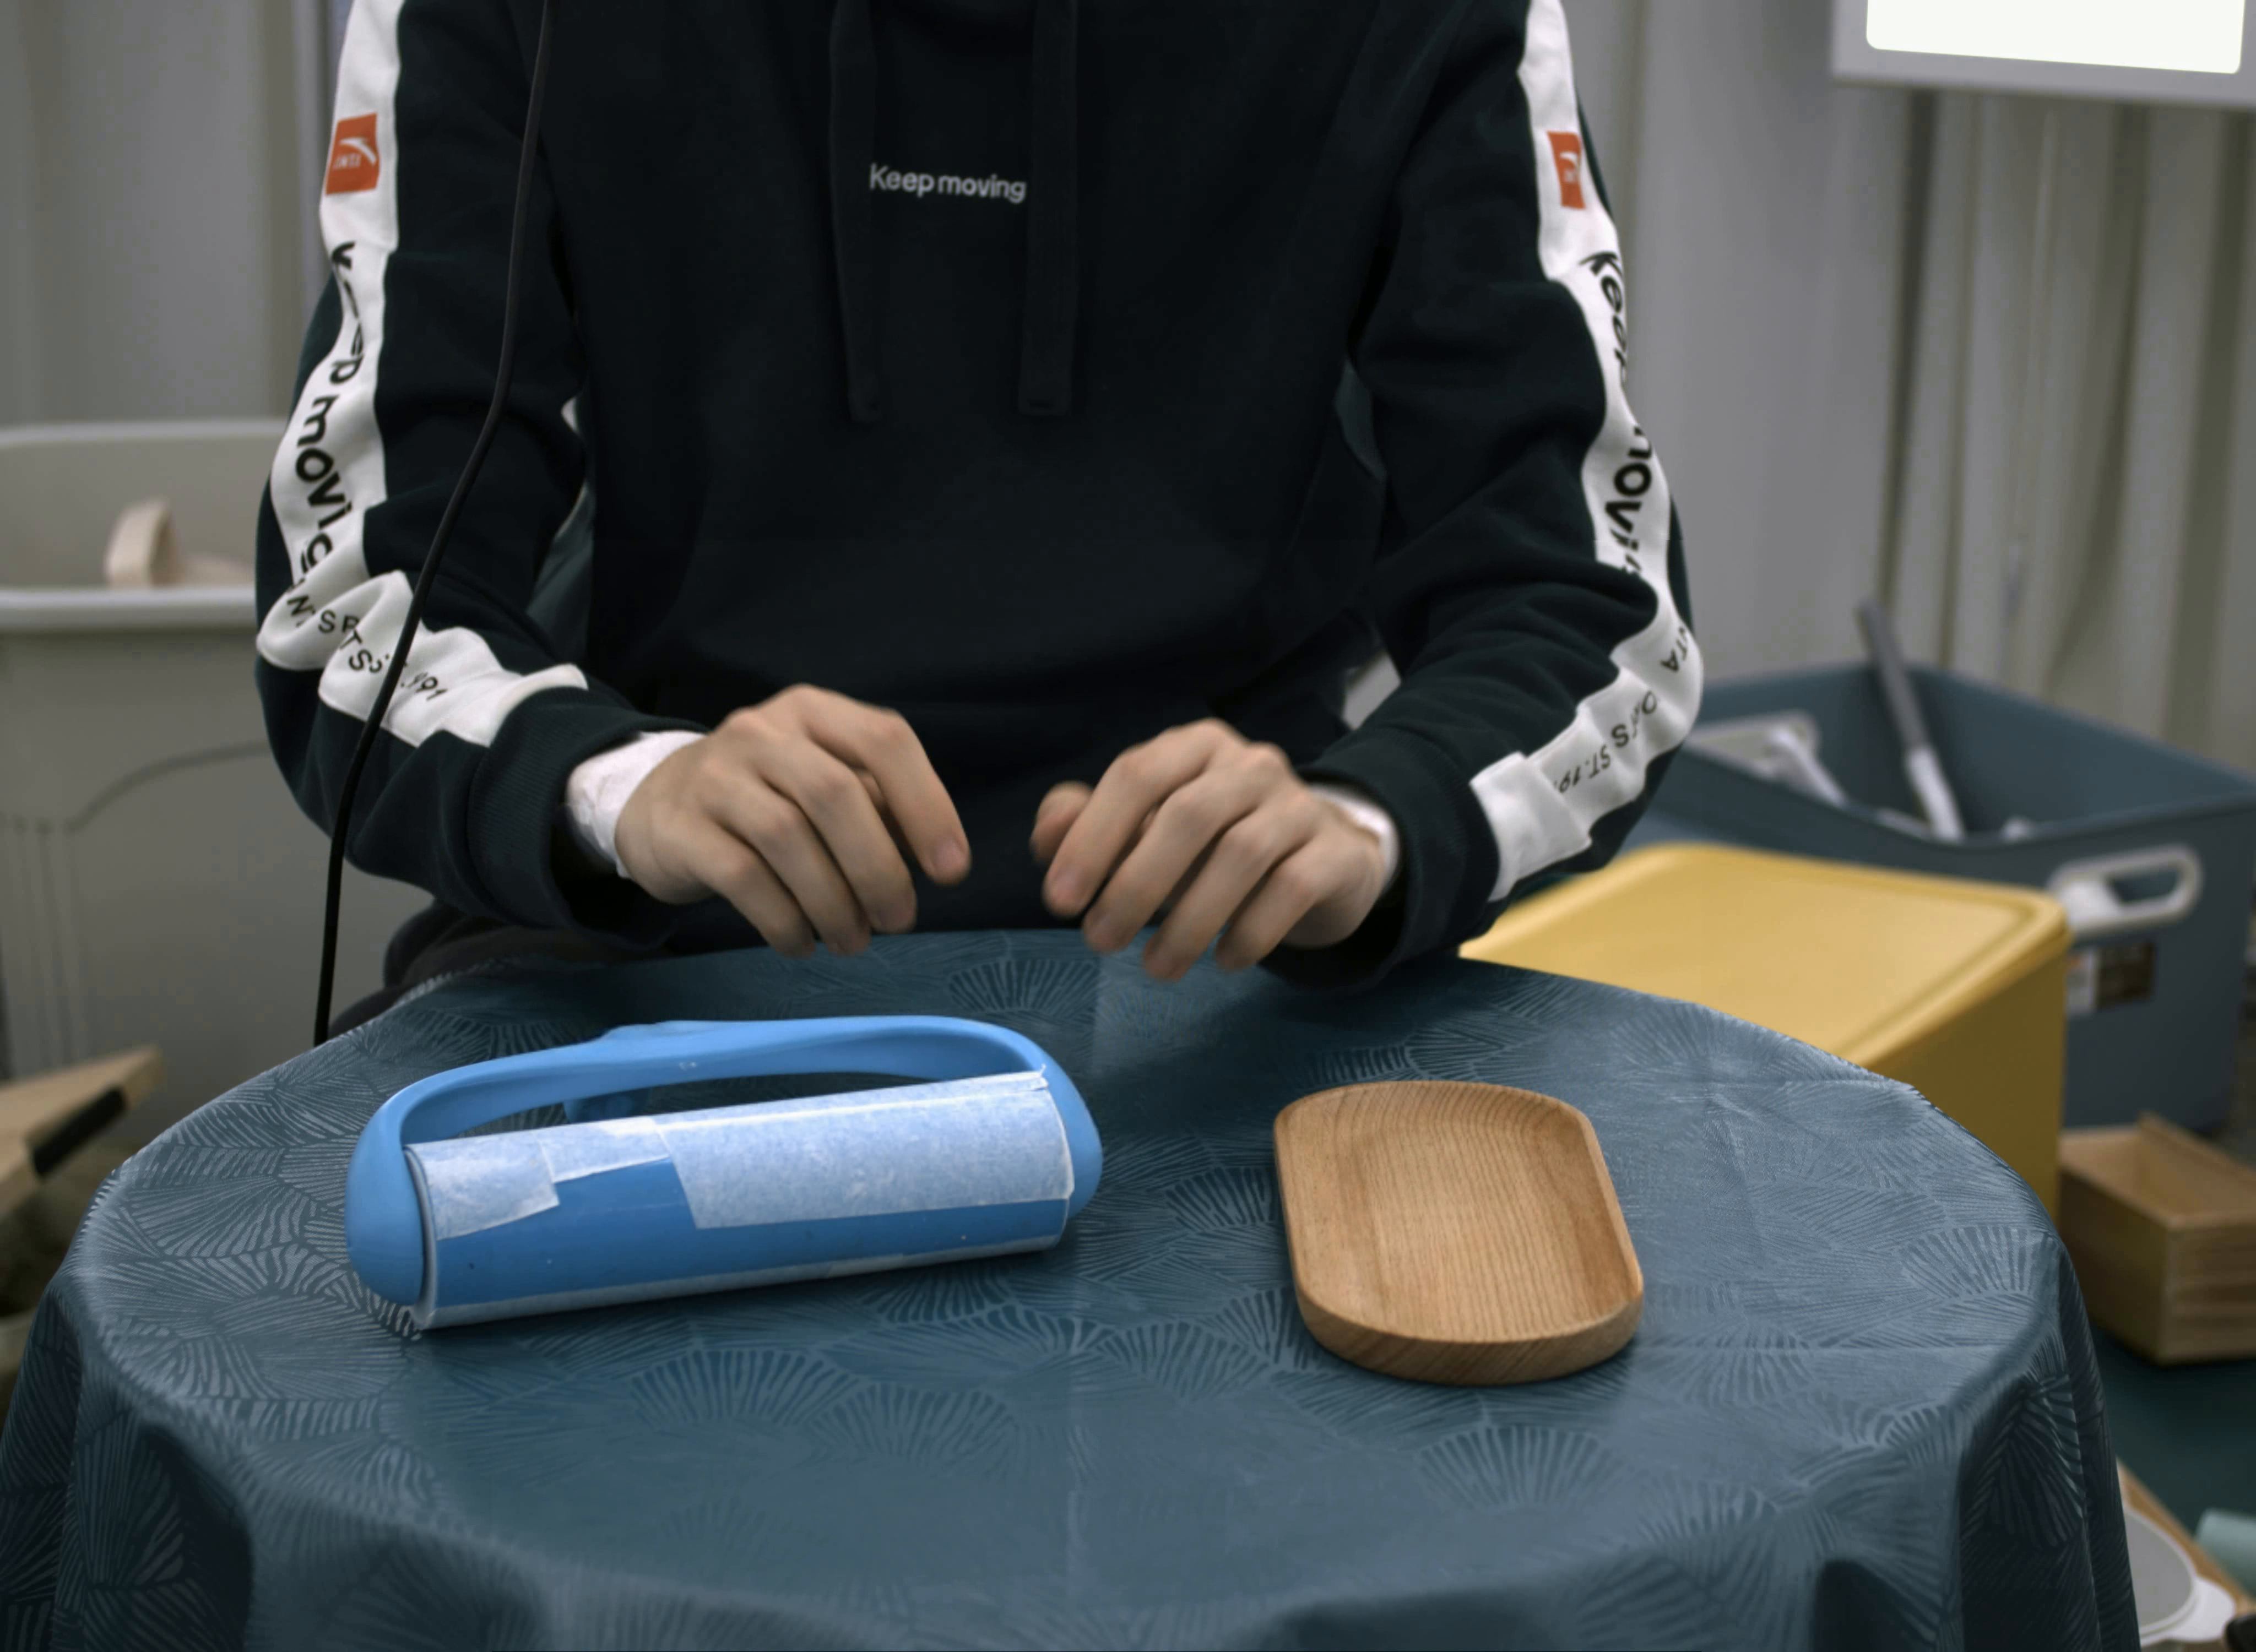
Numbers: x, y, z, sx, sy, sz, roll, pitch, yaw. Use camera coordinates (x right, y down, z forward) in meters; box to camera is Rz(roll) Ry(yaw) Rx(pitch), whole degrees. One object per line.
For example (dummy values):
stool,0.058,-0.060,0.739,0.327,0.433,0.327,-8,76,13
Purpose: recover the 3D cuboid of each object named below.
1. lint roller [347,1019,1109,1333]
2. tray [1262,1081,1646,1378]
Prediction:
lint roller,-0.137,0.092,1.581,0.229,0.068,0.178,-8,18,-23
tray,0.095,0.118,1.573,0.101,0.020,0.230,1,14,-3
